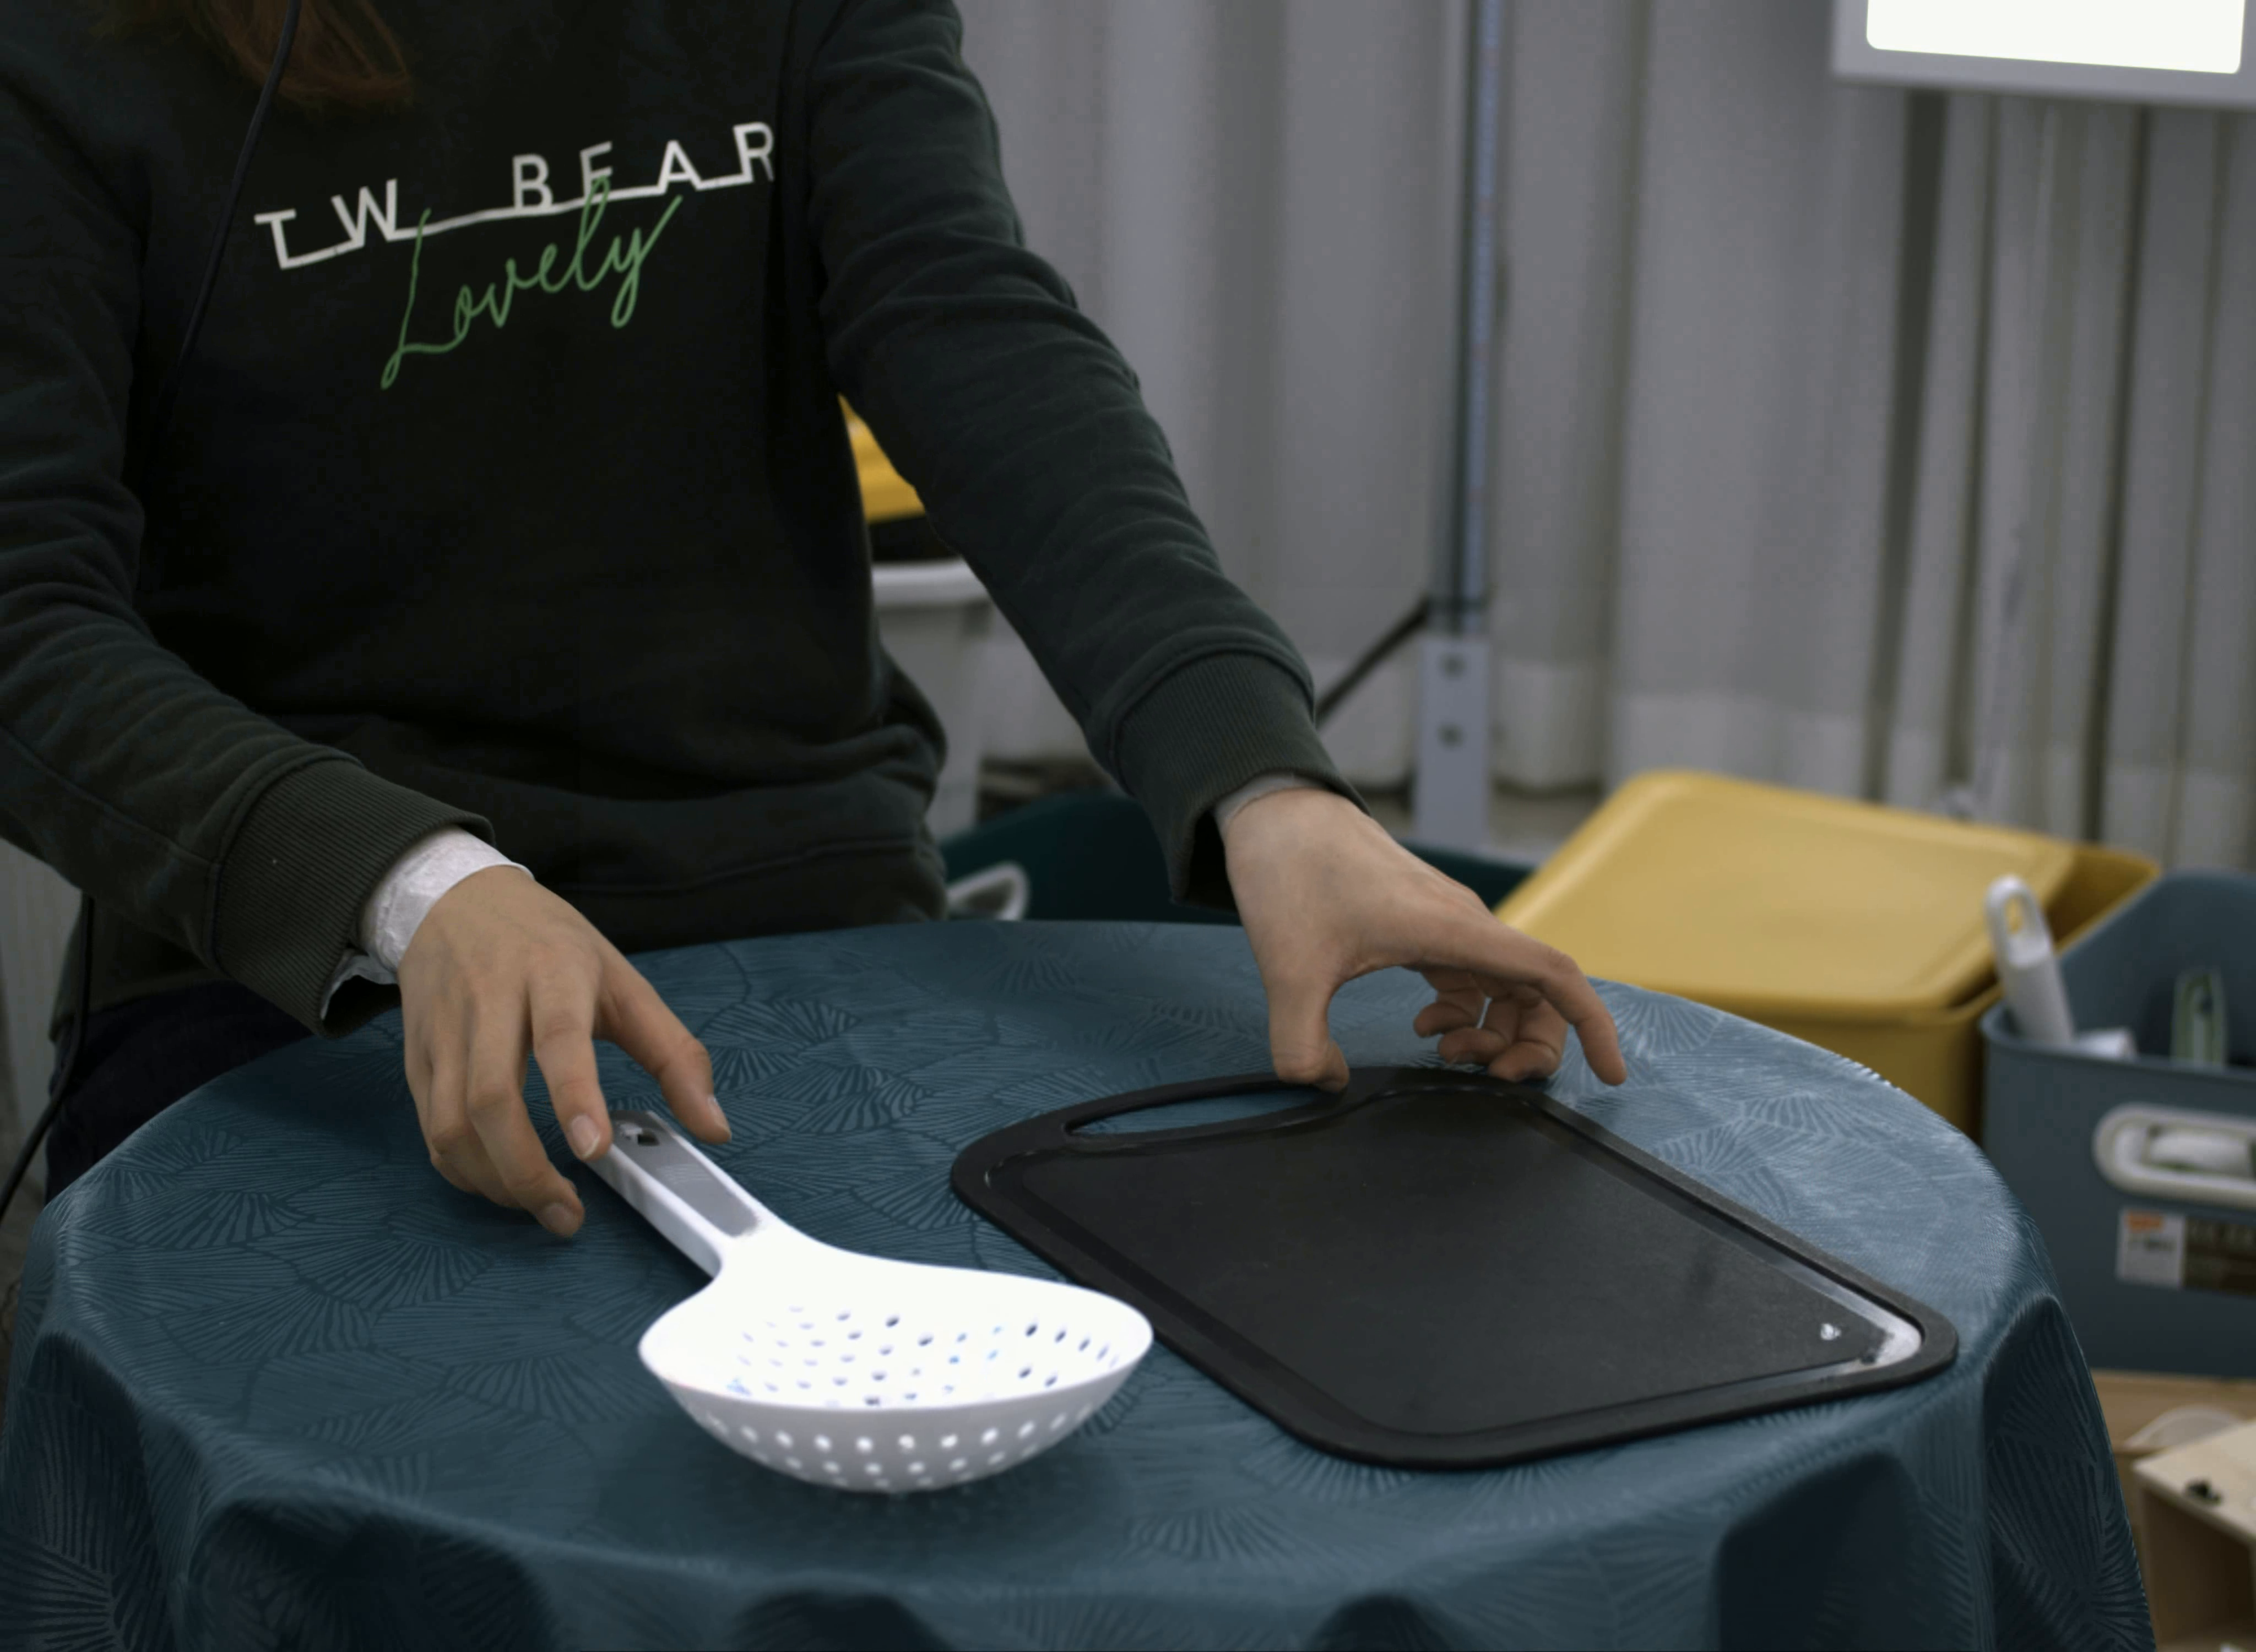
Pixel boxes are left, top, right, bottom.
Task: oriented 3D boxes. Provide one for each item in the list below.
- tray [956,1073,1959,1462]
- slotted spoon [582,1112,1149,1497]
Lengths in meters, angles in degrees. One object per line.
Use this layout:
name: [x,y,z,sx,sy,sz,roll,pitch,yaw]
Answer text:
tray: [0.087,0.124,1.577,0.212,0.010,0.321,-7,17,-26]
slotted spoon: [-0.100,0.126,1.492,0.136,0.046,0.346,-3,15,-21]
